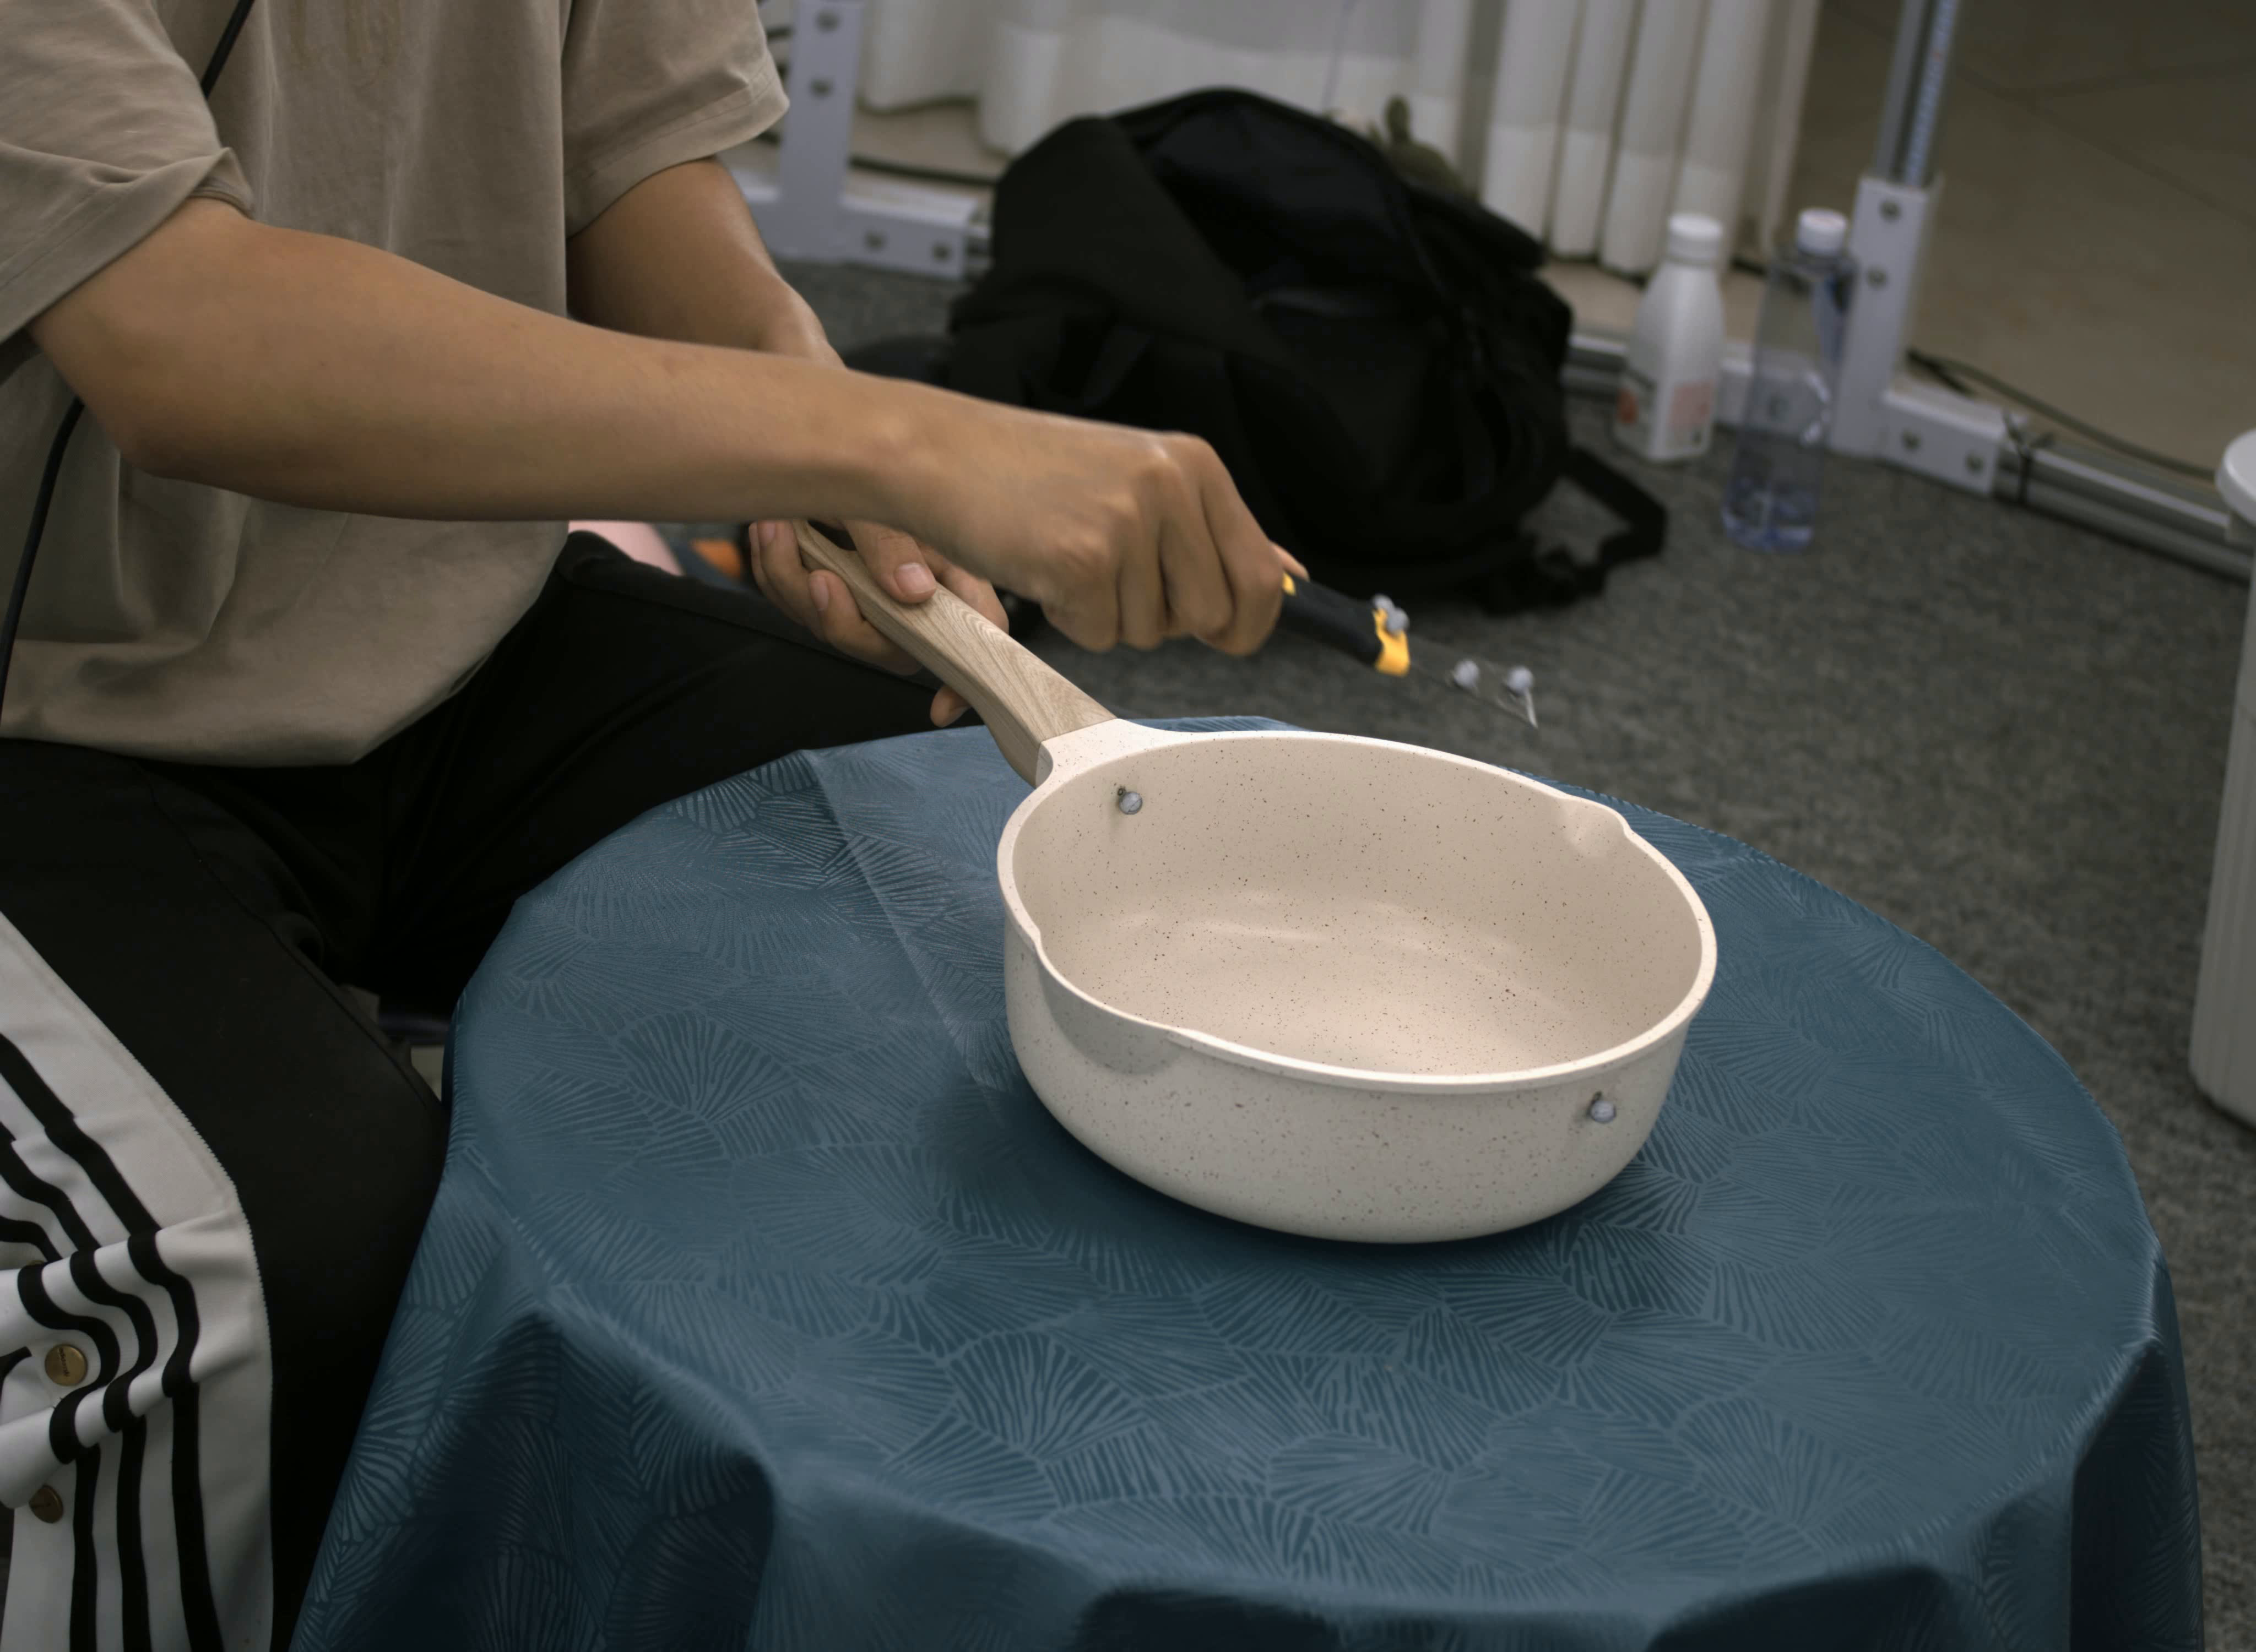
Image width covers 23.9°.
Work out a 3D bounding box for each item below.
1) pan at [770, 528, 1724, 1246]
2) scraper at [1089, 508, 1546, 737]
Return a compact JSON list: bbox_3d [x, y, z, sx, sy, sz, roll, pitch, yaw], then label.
[{"bbox_3d":[0.017,0.017,1.916,0.262,0.101,0.438,-21,38,-38],"label":"pan"},{"bbox_3d":[0.065,-0.068,1.788,0.170,0.015,0.039,21,35,-16],"label":"scraper"}]
